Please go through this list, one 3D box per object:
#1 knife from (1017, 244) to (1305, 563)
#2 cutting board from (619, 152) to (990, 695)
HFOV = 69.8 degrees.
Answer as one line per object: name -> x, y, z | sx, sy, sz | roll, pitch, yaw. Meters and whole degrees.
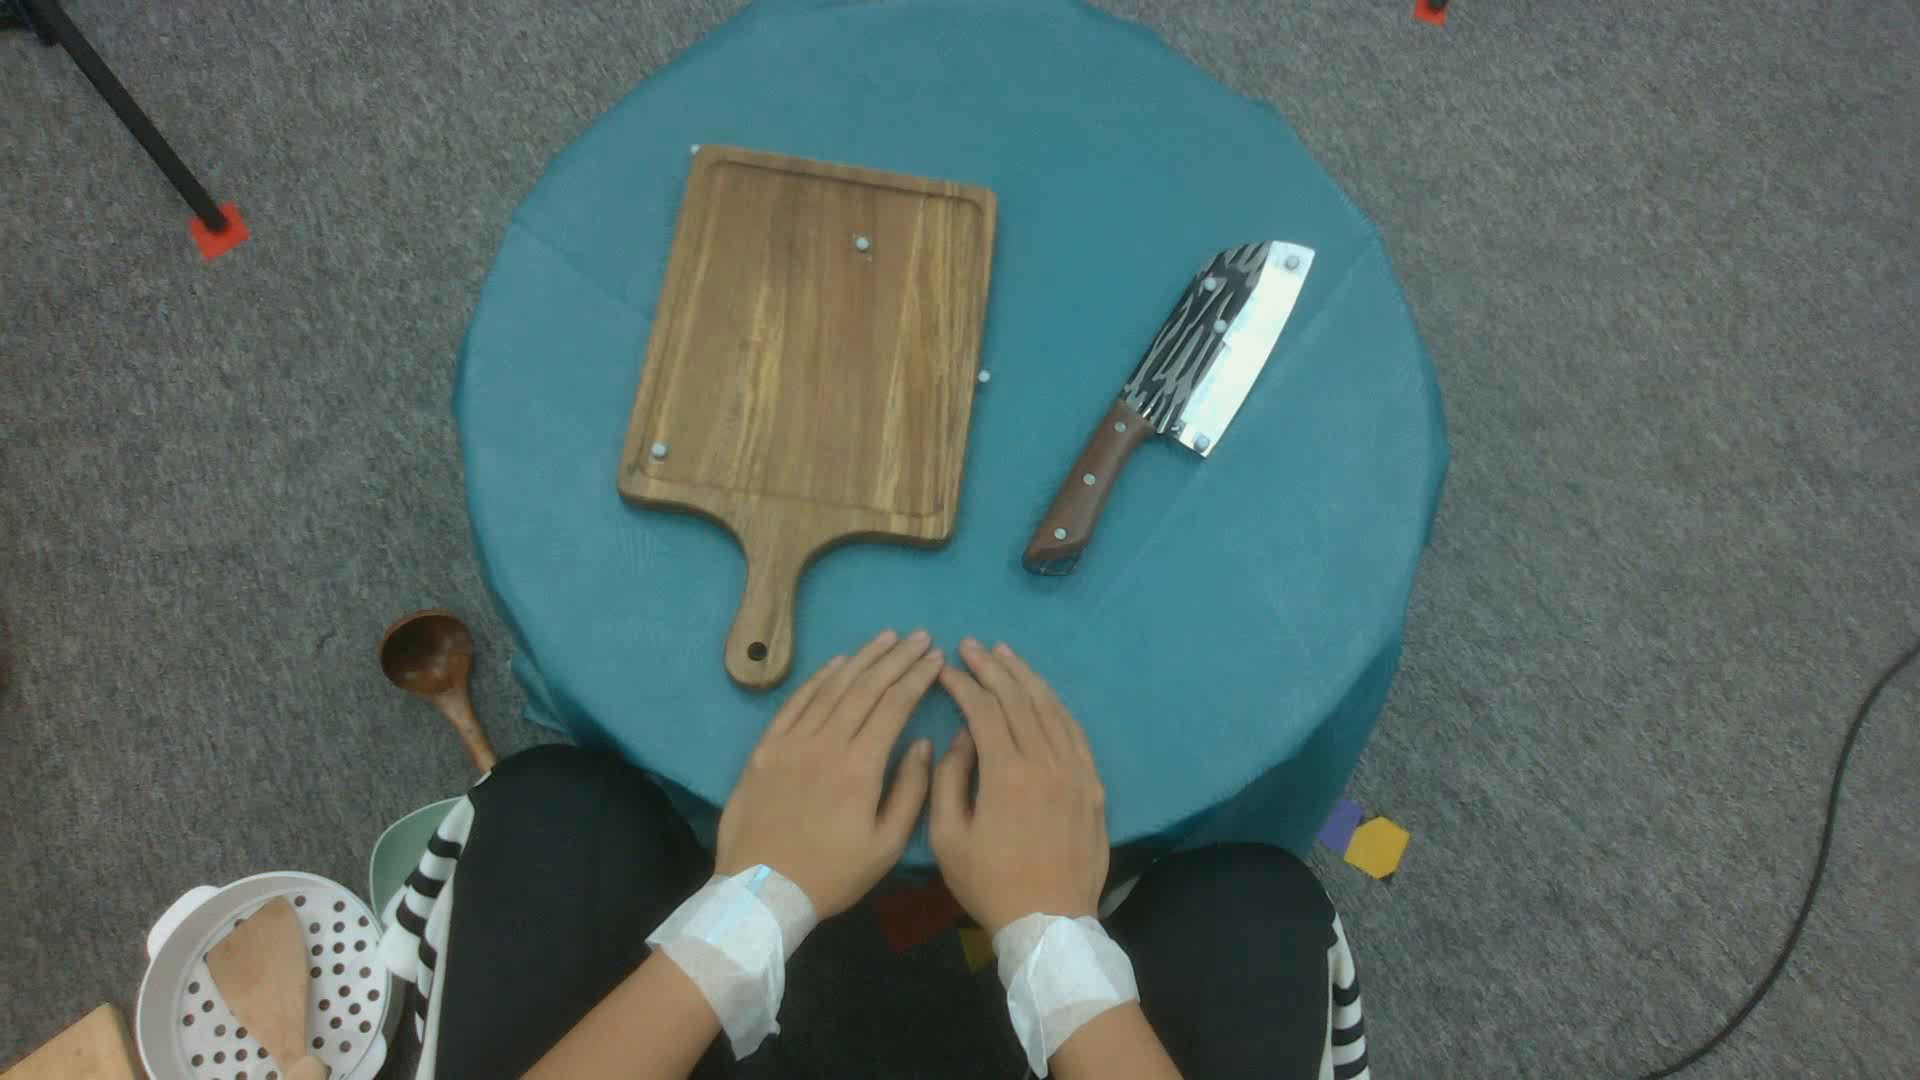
knife -> 0.133, -0.090, 0.860 | 0.068, 0.024, 0.301 | 32, 66, 6
cutting board -> -0.095, -0.078, 0.835 | 0.201, 0.023, 0.353 | 8, 68, -1
